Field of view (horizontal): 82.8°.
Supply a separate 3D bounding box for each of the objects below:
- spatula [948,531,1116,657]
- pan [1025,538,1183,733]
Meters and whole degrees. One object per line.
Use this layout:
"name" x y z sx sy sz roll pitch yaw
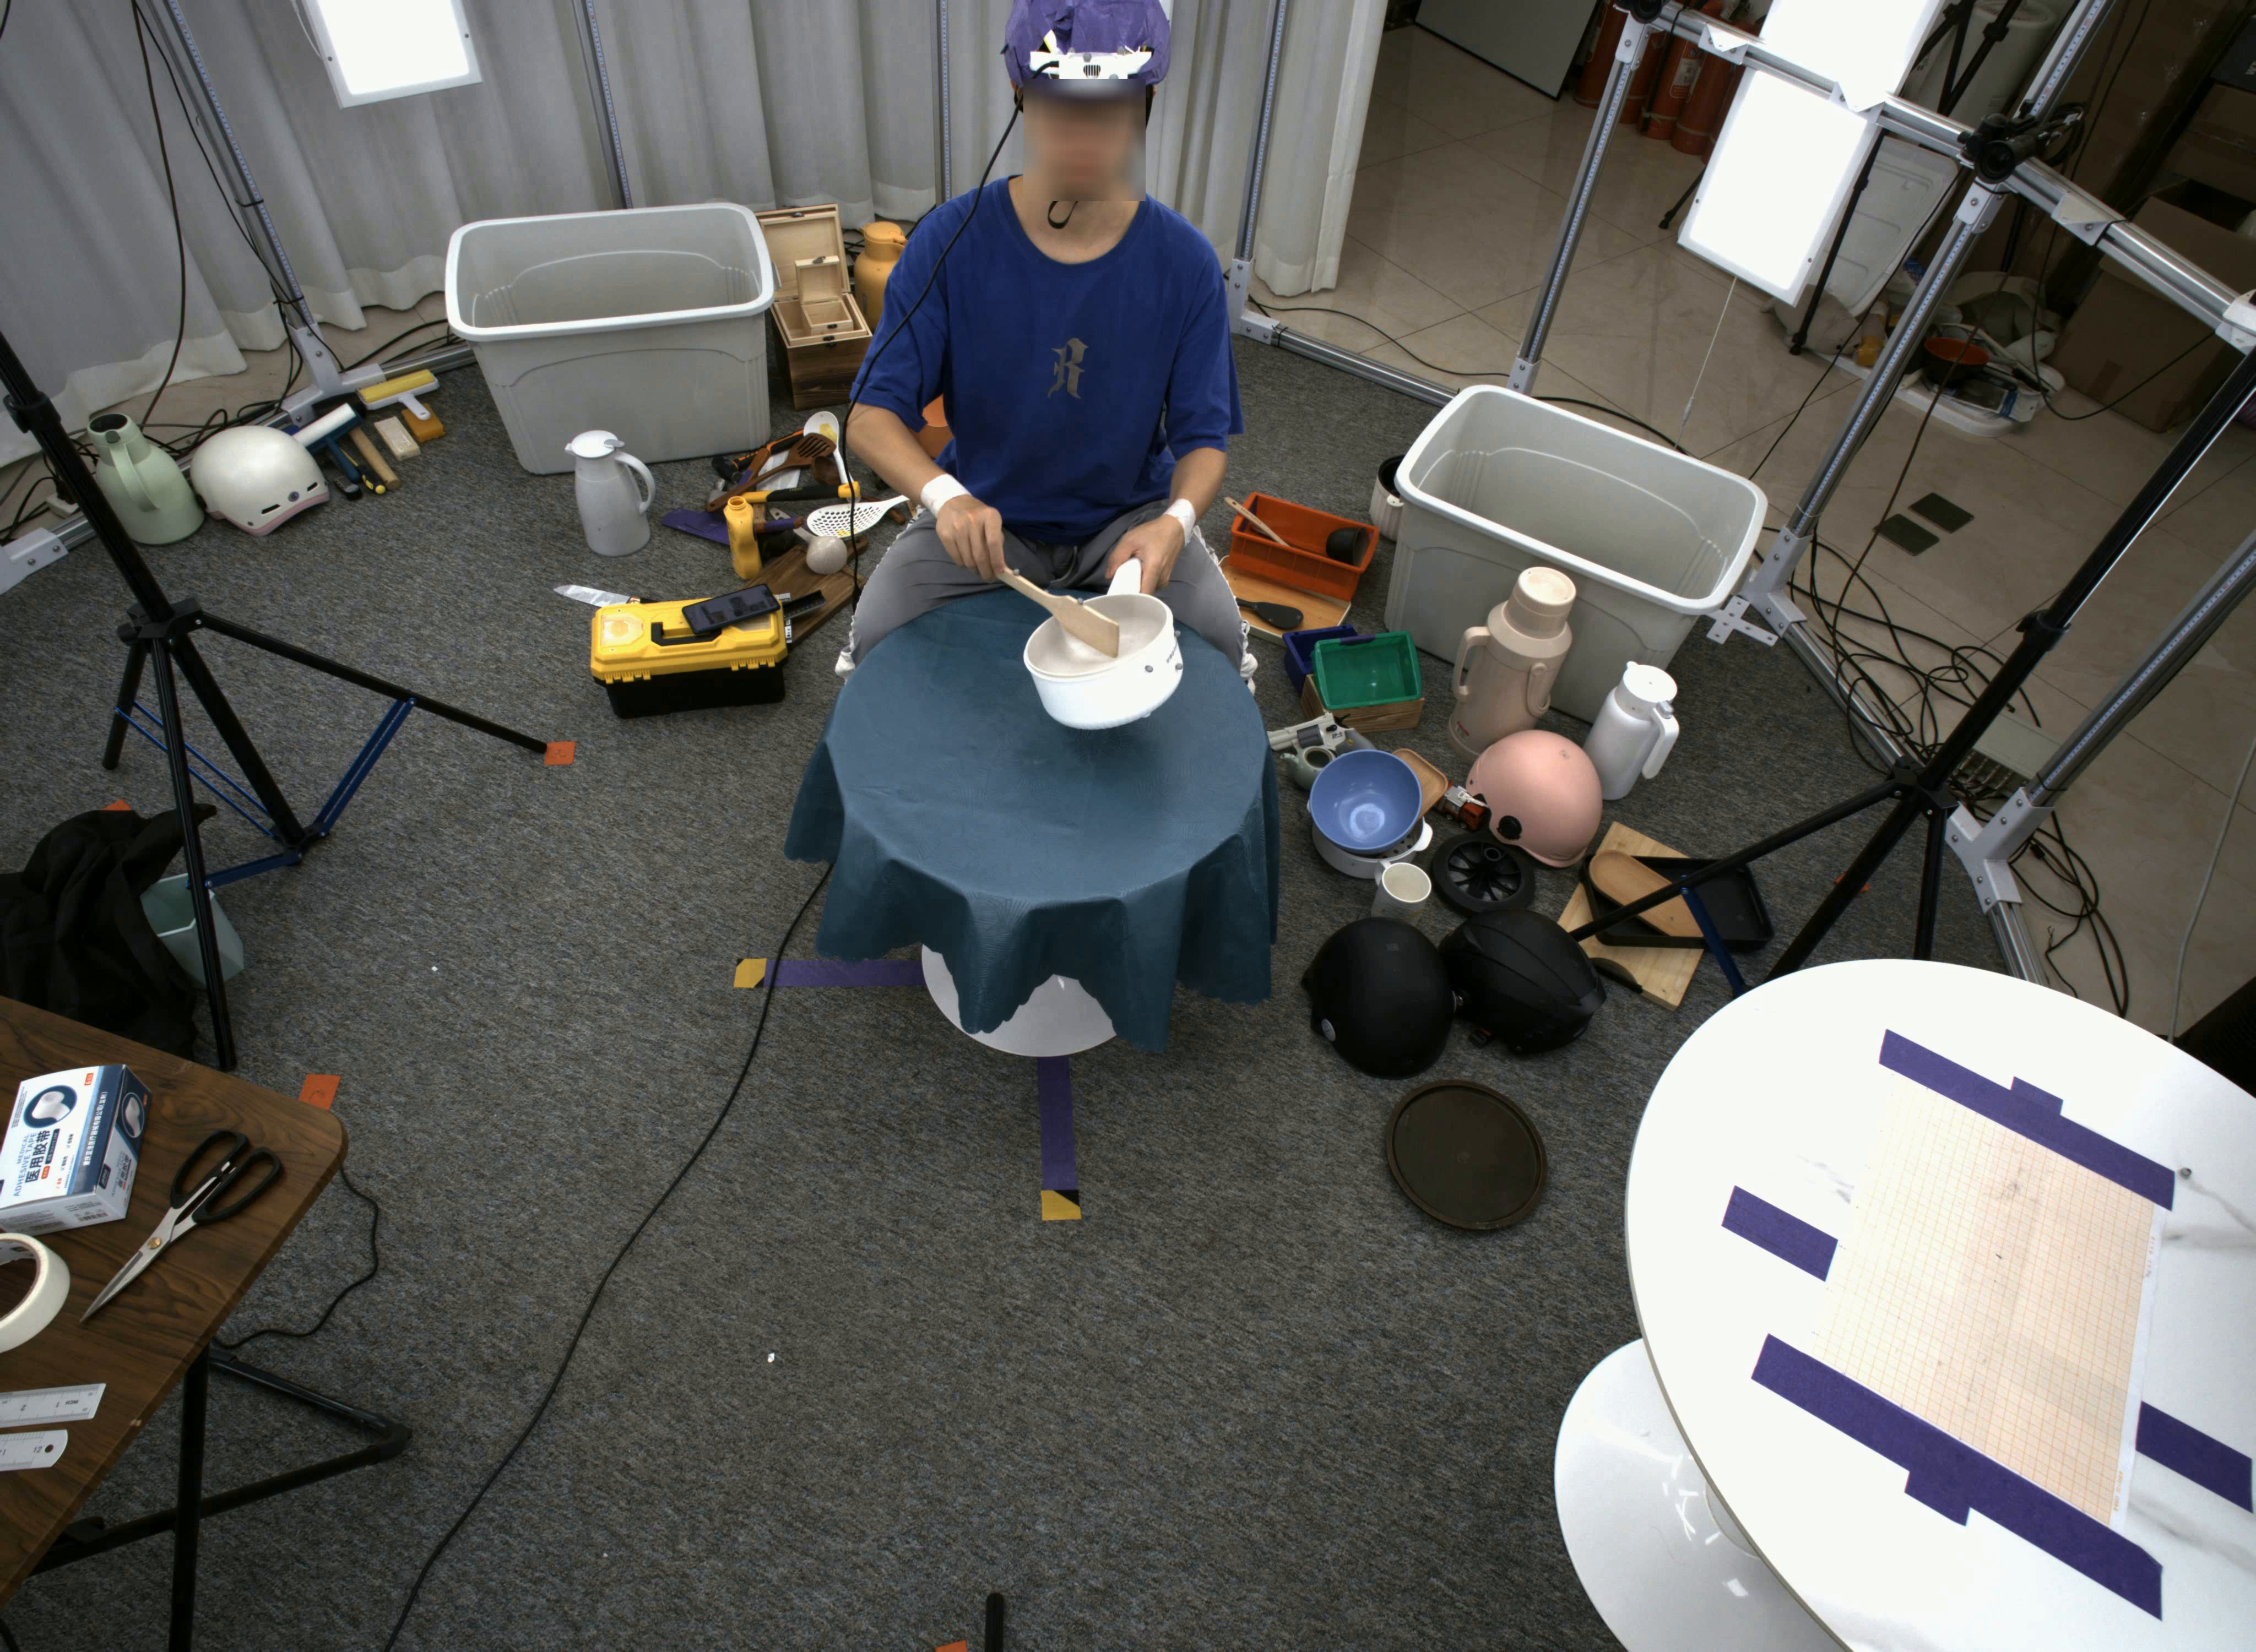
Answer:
"spatula" -0.132 -0.322 1.737 0.296 0.070 0.011 35 65 19
"pan" -0.010 -0.261 1.754 0.201 0.100 0.363 -6 38 21
